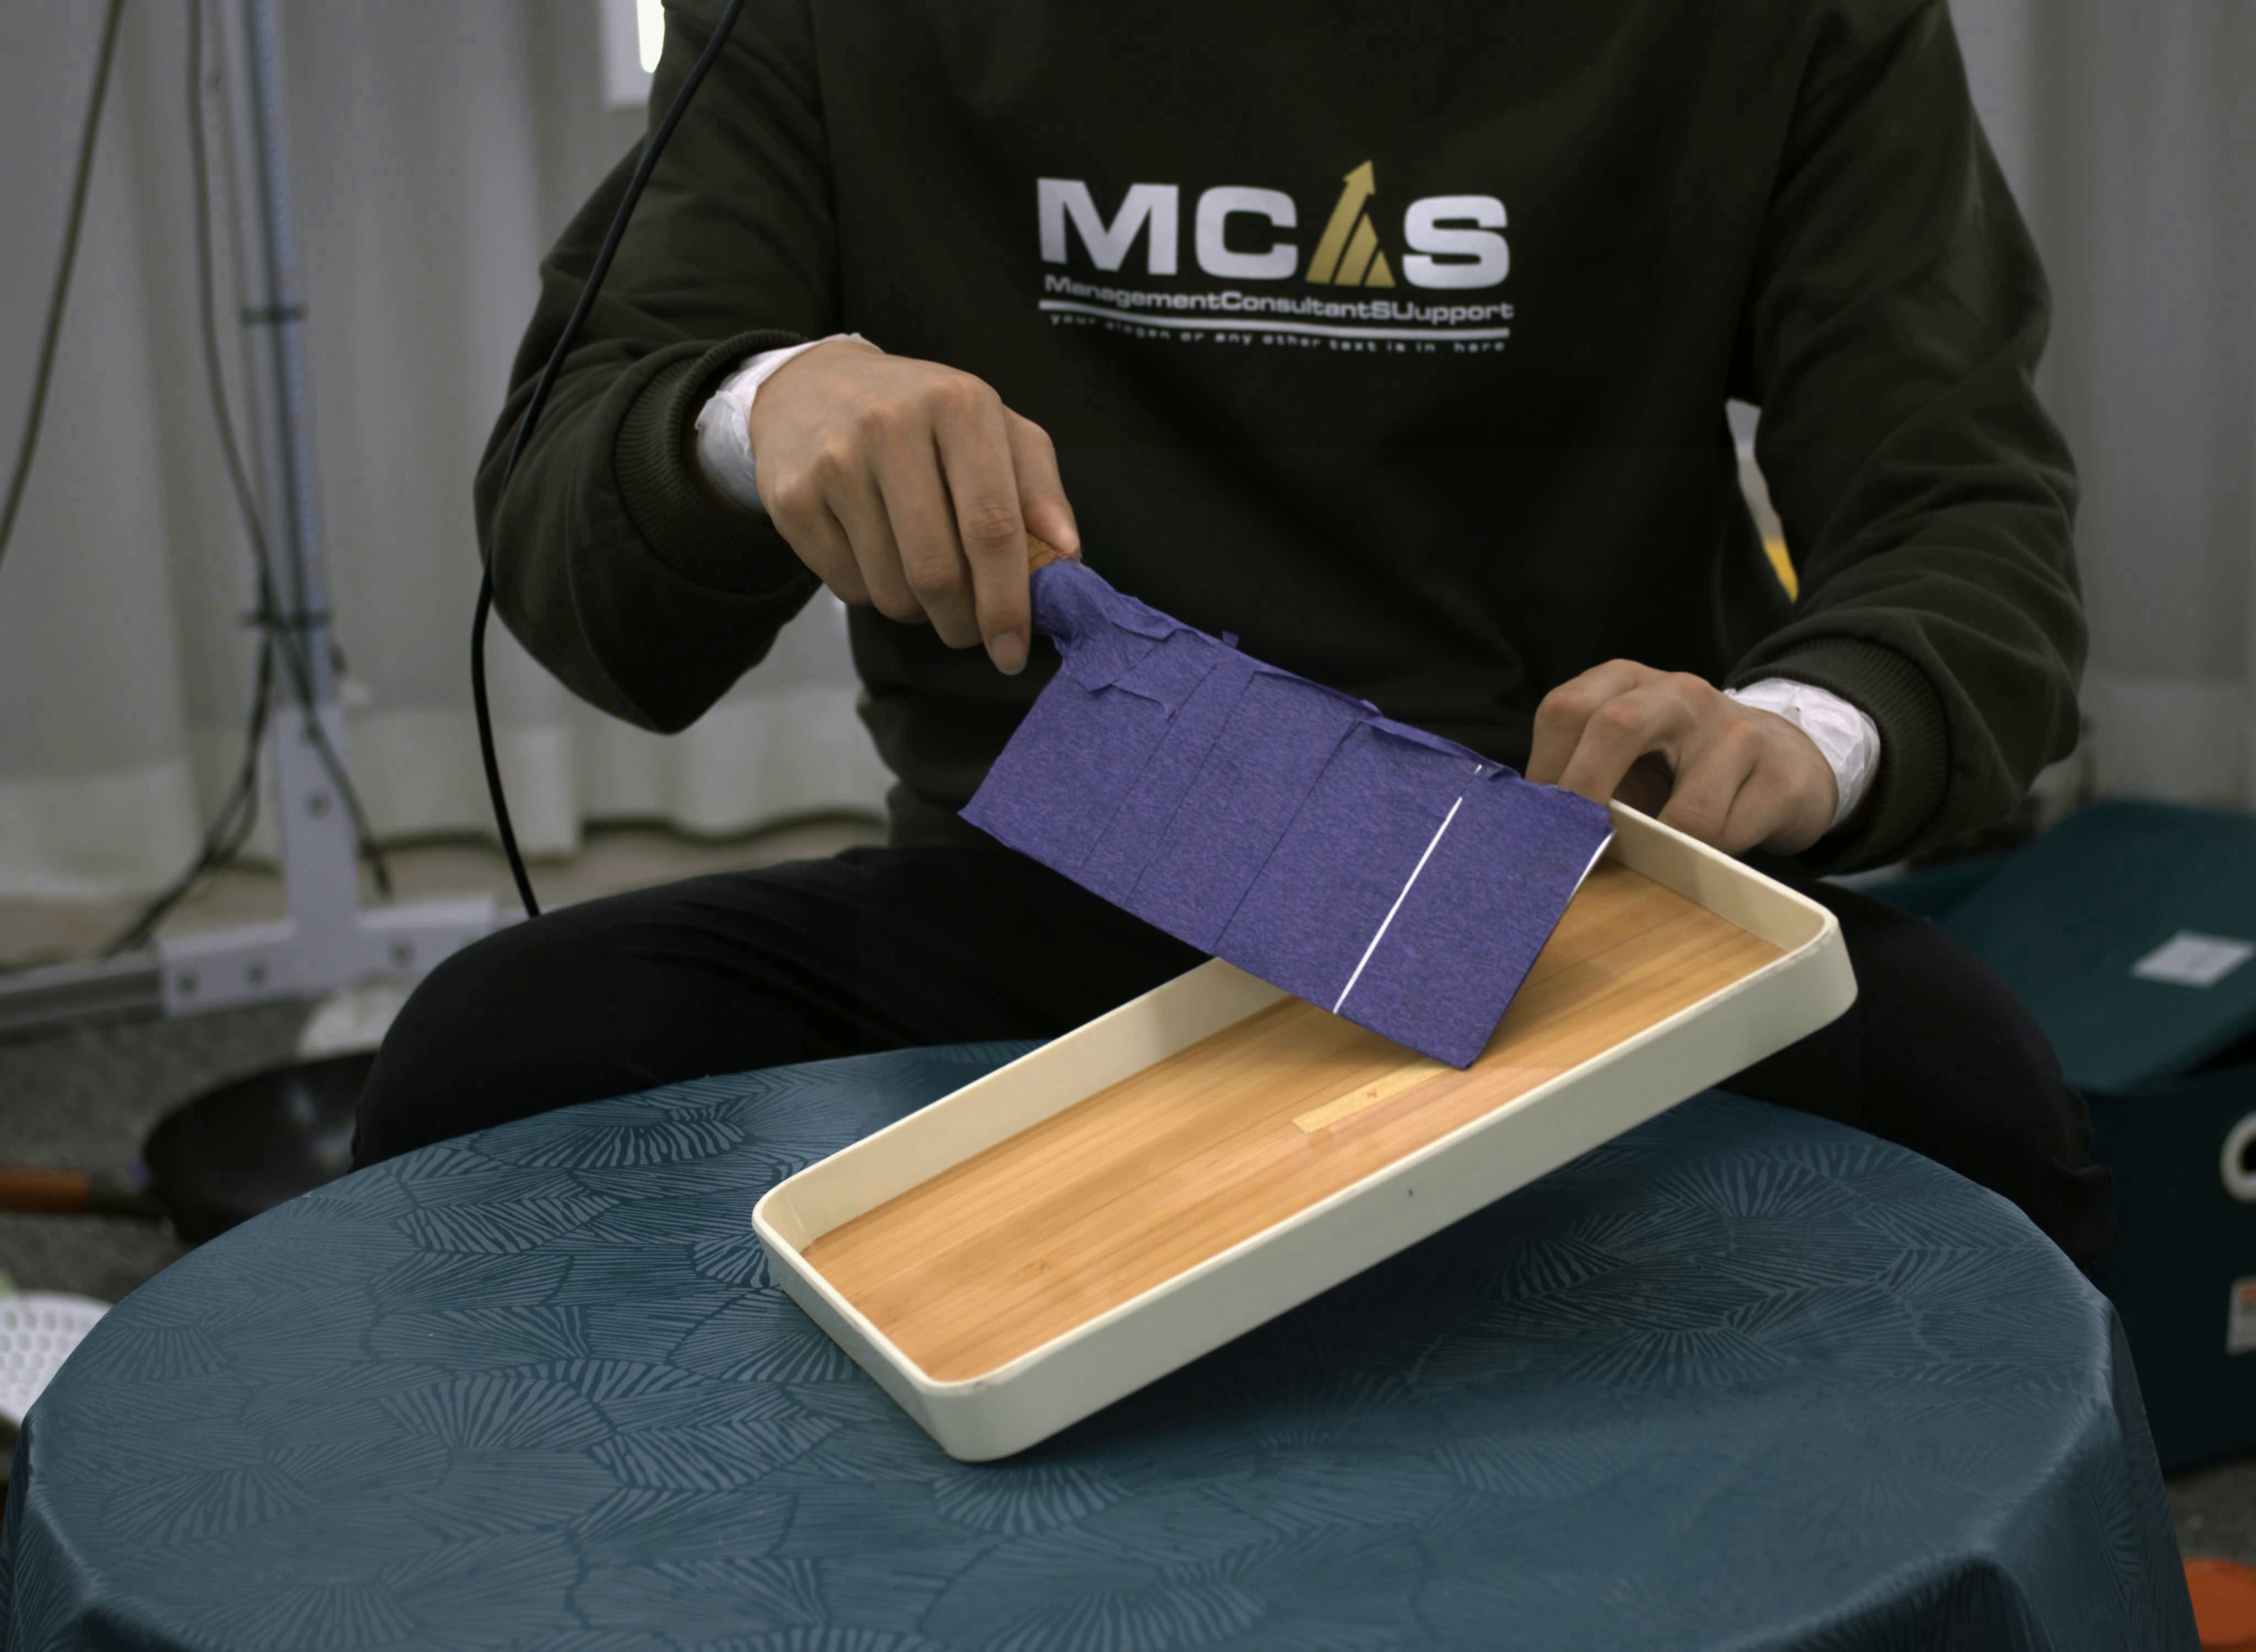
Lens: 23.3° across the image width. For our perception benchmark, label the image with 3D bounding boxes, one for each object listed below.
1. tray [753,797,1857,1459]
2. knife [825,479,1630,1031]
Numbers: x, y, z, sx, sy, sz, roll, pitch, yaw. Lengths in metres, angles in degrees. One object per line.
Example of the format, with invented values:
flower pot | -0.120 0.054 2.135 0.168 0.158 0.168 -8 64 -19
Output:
tray | 0.049 0.082 1.605 0.300 0.027 0.193 -27 20 -14
knife | 0.008 -0.024 1.698 0.318 0.104 0.032 25 -14 37
